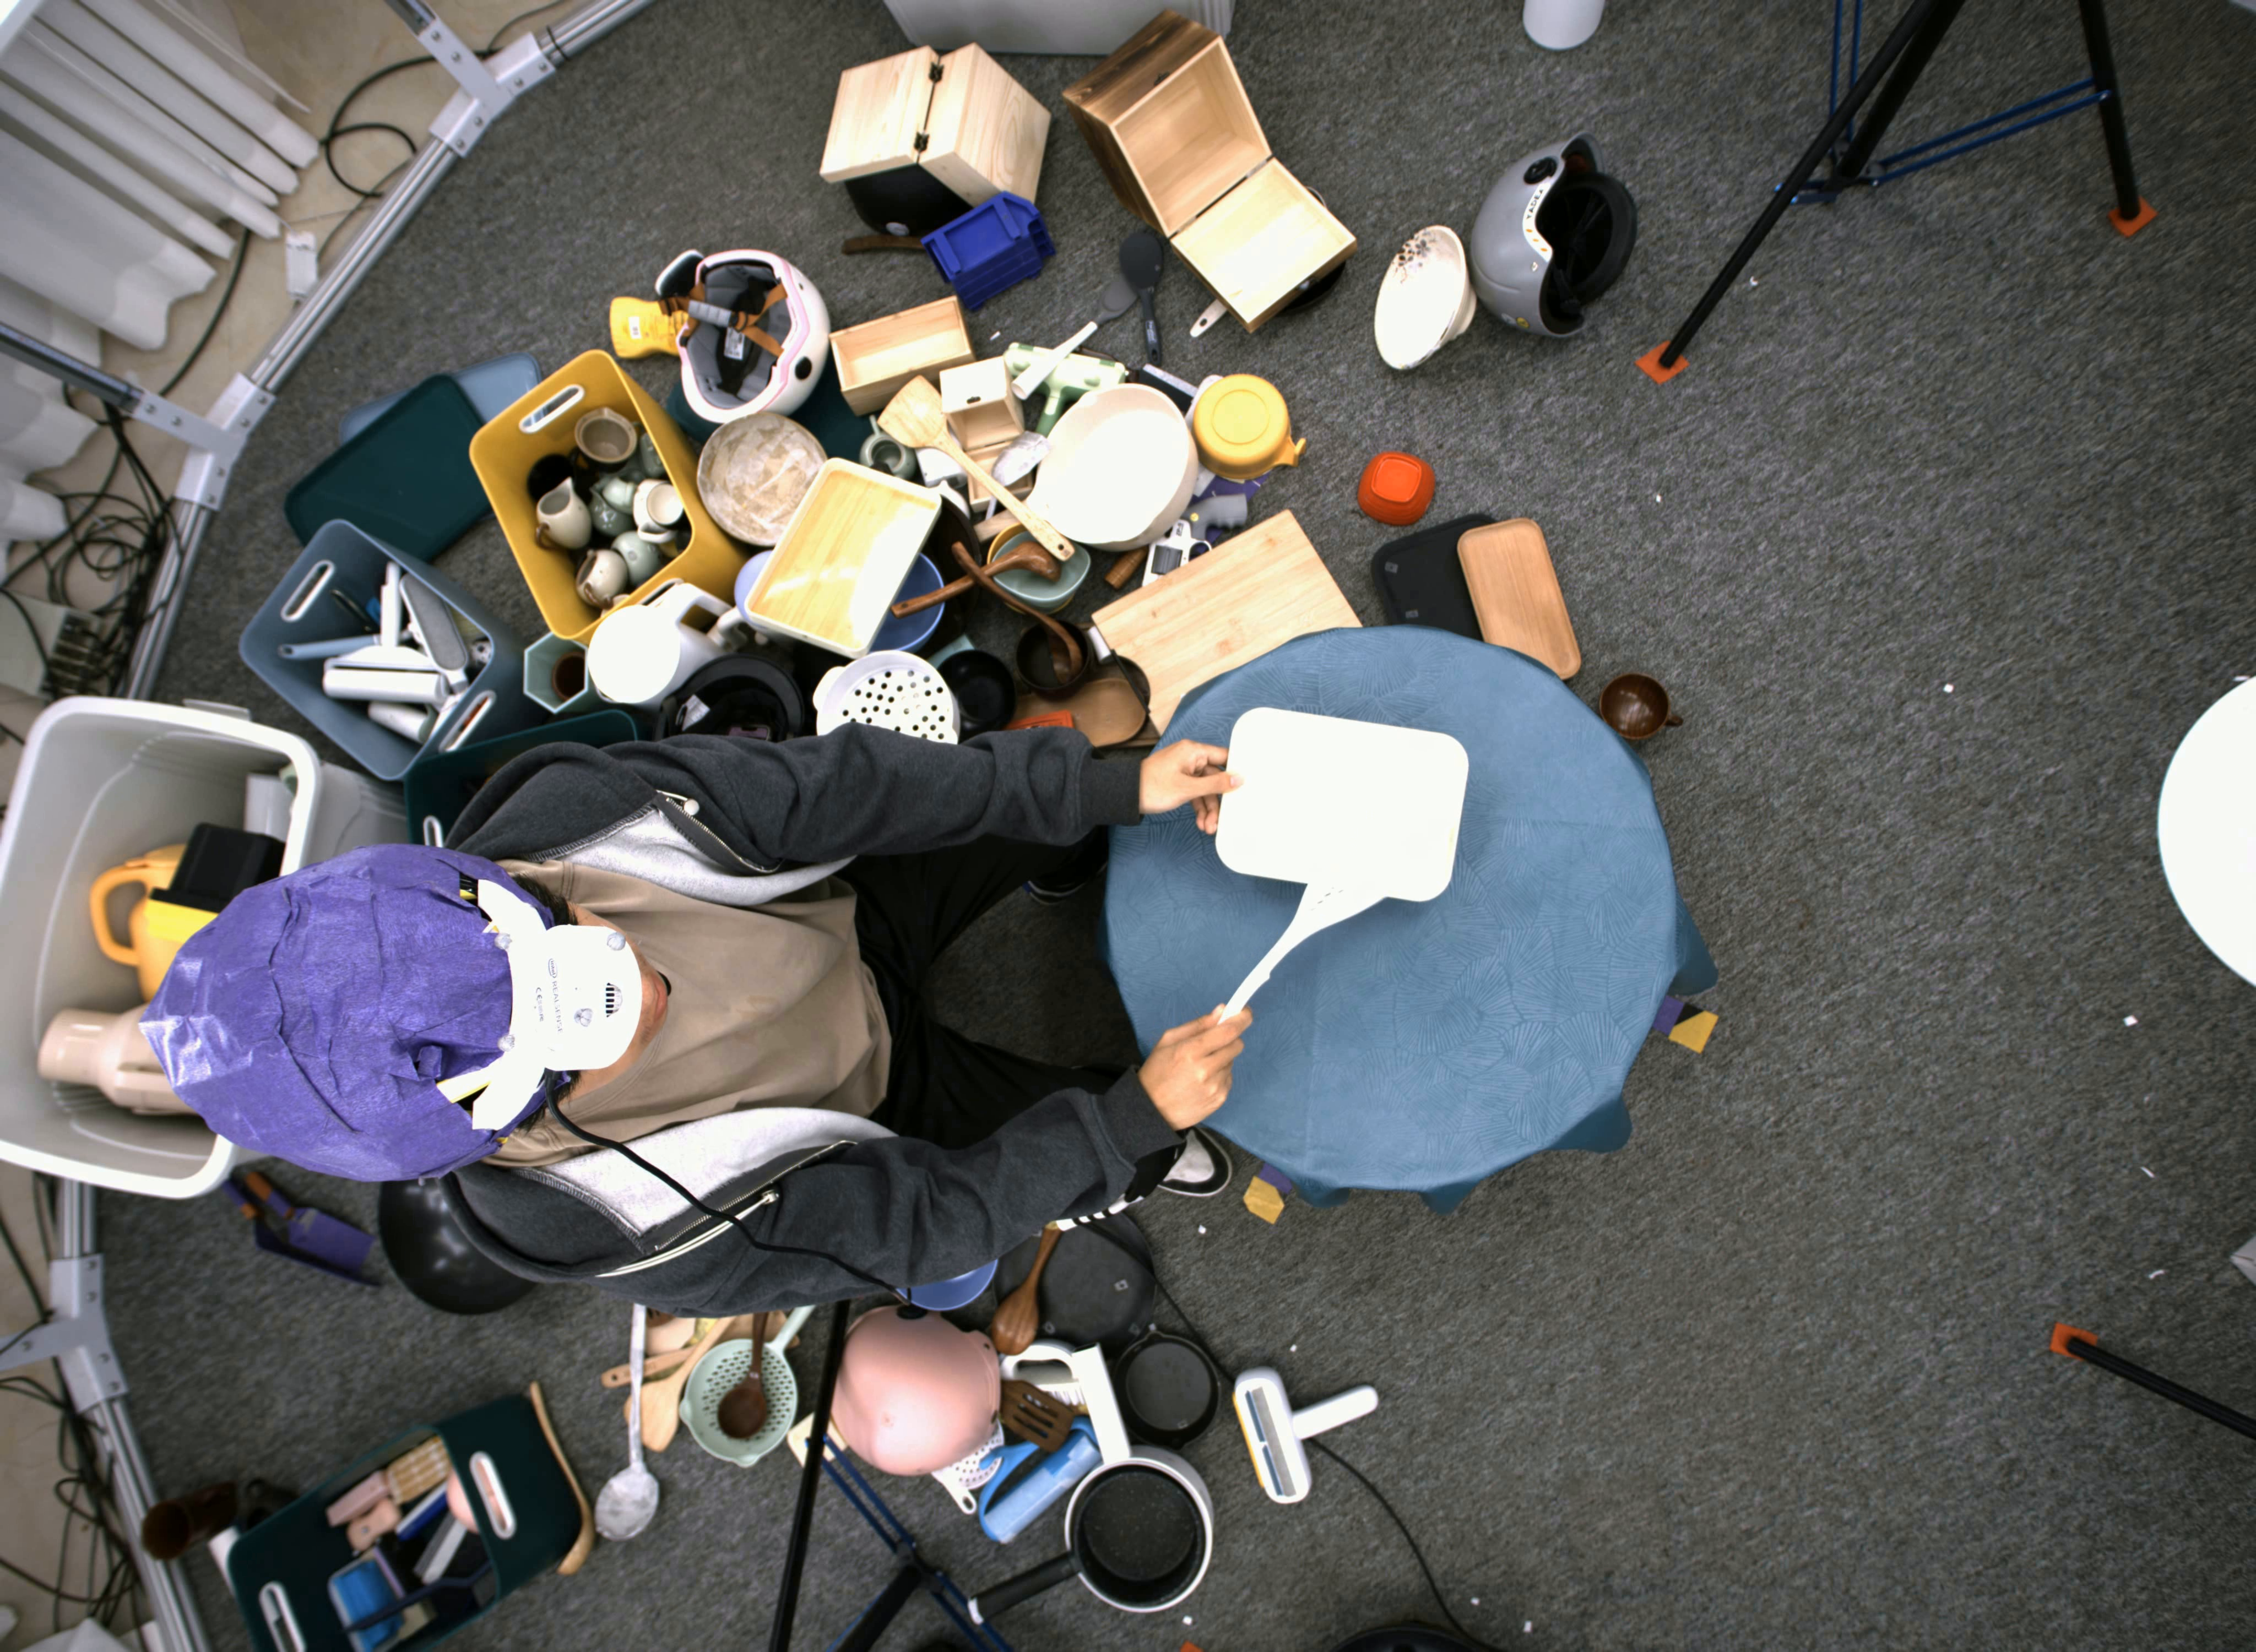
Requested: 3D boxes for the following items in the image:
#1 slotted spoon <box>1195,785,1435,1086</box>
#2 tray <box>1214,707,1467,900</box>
[{"bbox_3d":[0.168,0.102,1.315,0.347,0.135,0.051,-46,116,-3],"label":"slotted spoon"},{"bbox_3d":[0.213,-0.024,1.393,0.240,0.017,0.172,9,95,7],"label":"tray"}]
